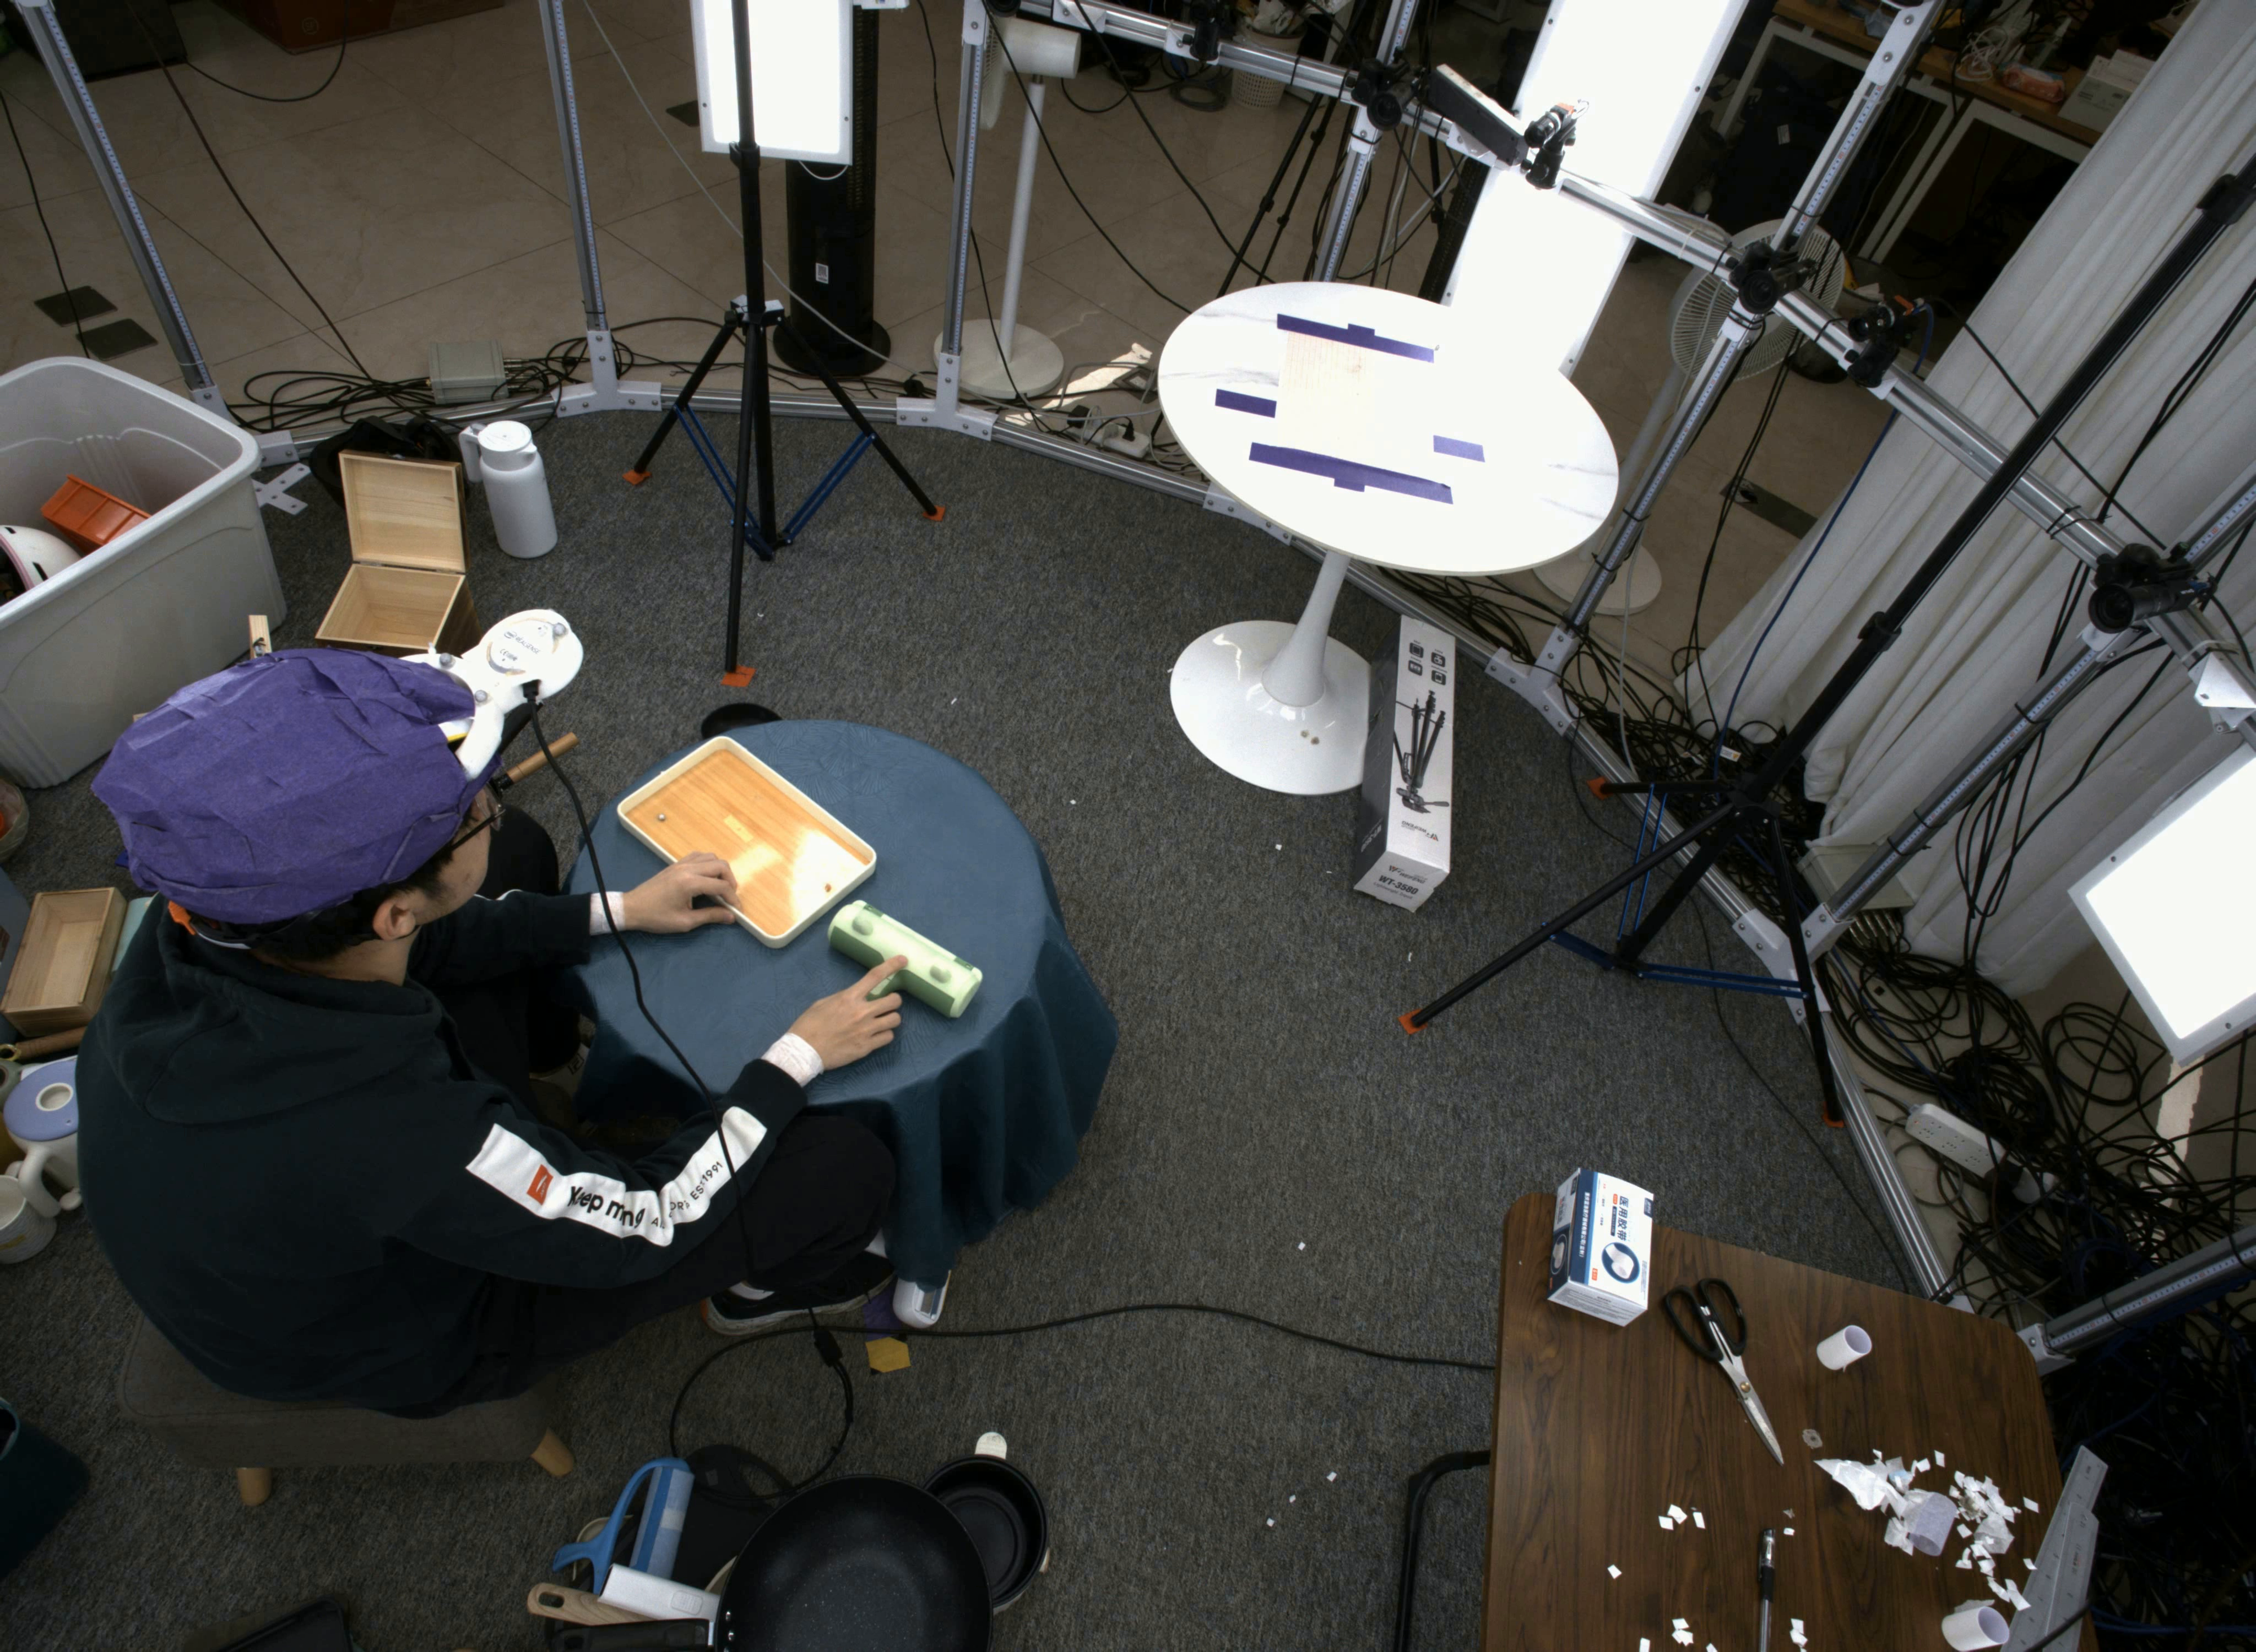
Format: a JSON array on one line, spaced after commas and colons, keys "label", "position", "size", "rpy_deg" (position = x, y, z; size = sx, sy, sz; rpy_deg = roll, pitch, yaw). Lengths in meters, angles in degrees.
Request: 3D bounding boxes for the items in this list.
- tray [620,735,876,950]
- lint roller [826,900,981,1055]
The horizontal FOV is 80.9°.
[{"label": "tray", "position": [-0.496, 0.015, 1.683], "size": [0.294, 0.028, 0.191], "rpy_deg": [36, 54, 13]}, {"label": "lint roller", "position": [-0.305, 0.191, 1.571], "size": [0.195, 0.084, 0.182], "rpy_deg": [30, 48, 9]}]
